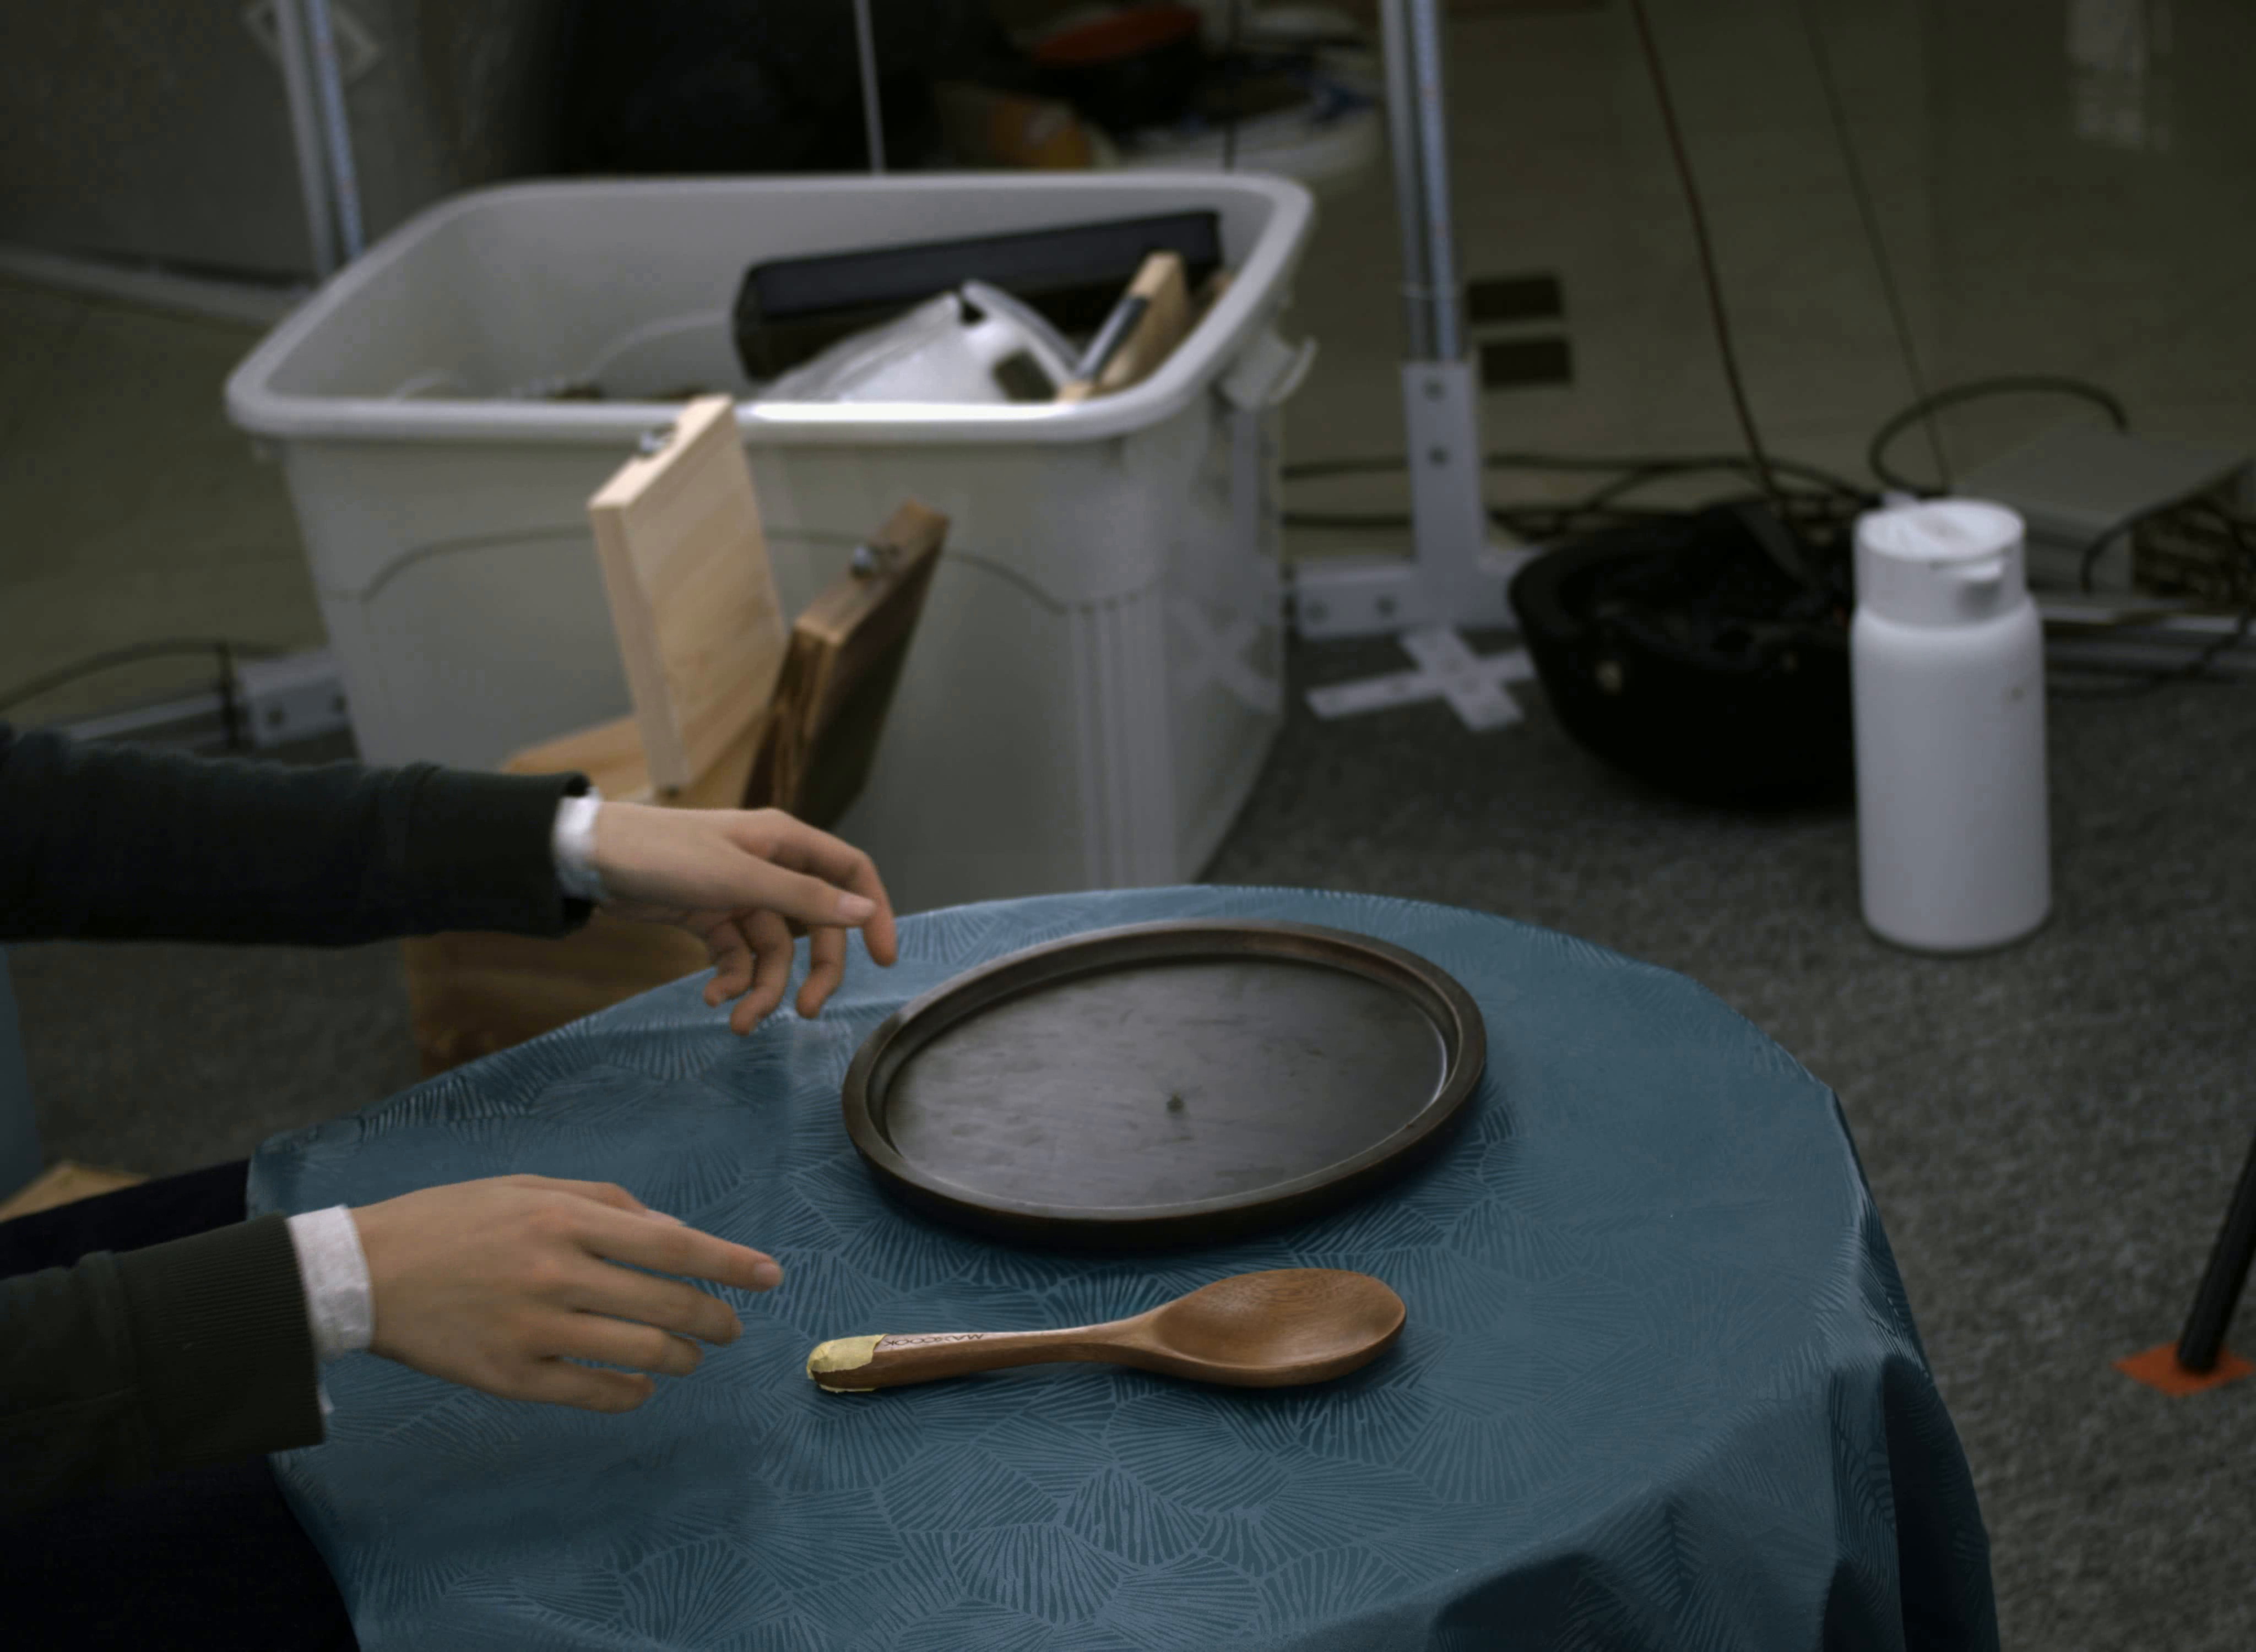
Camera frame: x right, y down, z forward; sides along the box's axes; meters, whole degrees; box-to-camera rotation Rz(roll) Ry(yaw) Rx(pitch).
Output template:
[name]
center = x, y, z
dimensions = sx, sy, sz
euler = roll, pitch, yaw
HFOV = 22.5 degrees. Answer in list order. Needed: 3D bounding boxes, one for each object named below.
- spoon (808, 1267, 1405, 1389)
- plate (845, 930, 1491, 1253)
[spoon]
center = -0.008, 0.186, 2.033
dimensions = 0.215, 0.017, 0.074
euler = -4, 25, 5
[plate]
center = 0.015, 0.101, 2.204
dimensions = 0.254, 0.029, 0.251
euler = -5, 24, 2
